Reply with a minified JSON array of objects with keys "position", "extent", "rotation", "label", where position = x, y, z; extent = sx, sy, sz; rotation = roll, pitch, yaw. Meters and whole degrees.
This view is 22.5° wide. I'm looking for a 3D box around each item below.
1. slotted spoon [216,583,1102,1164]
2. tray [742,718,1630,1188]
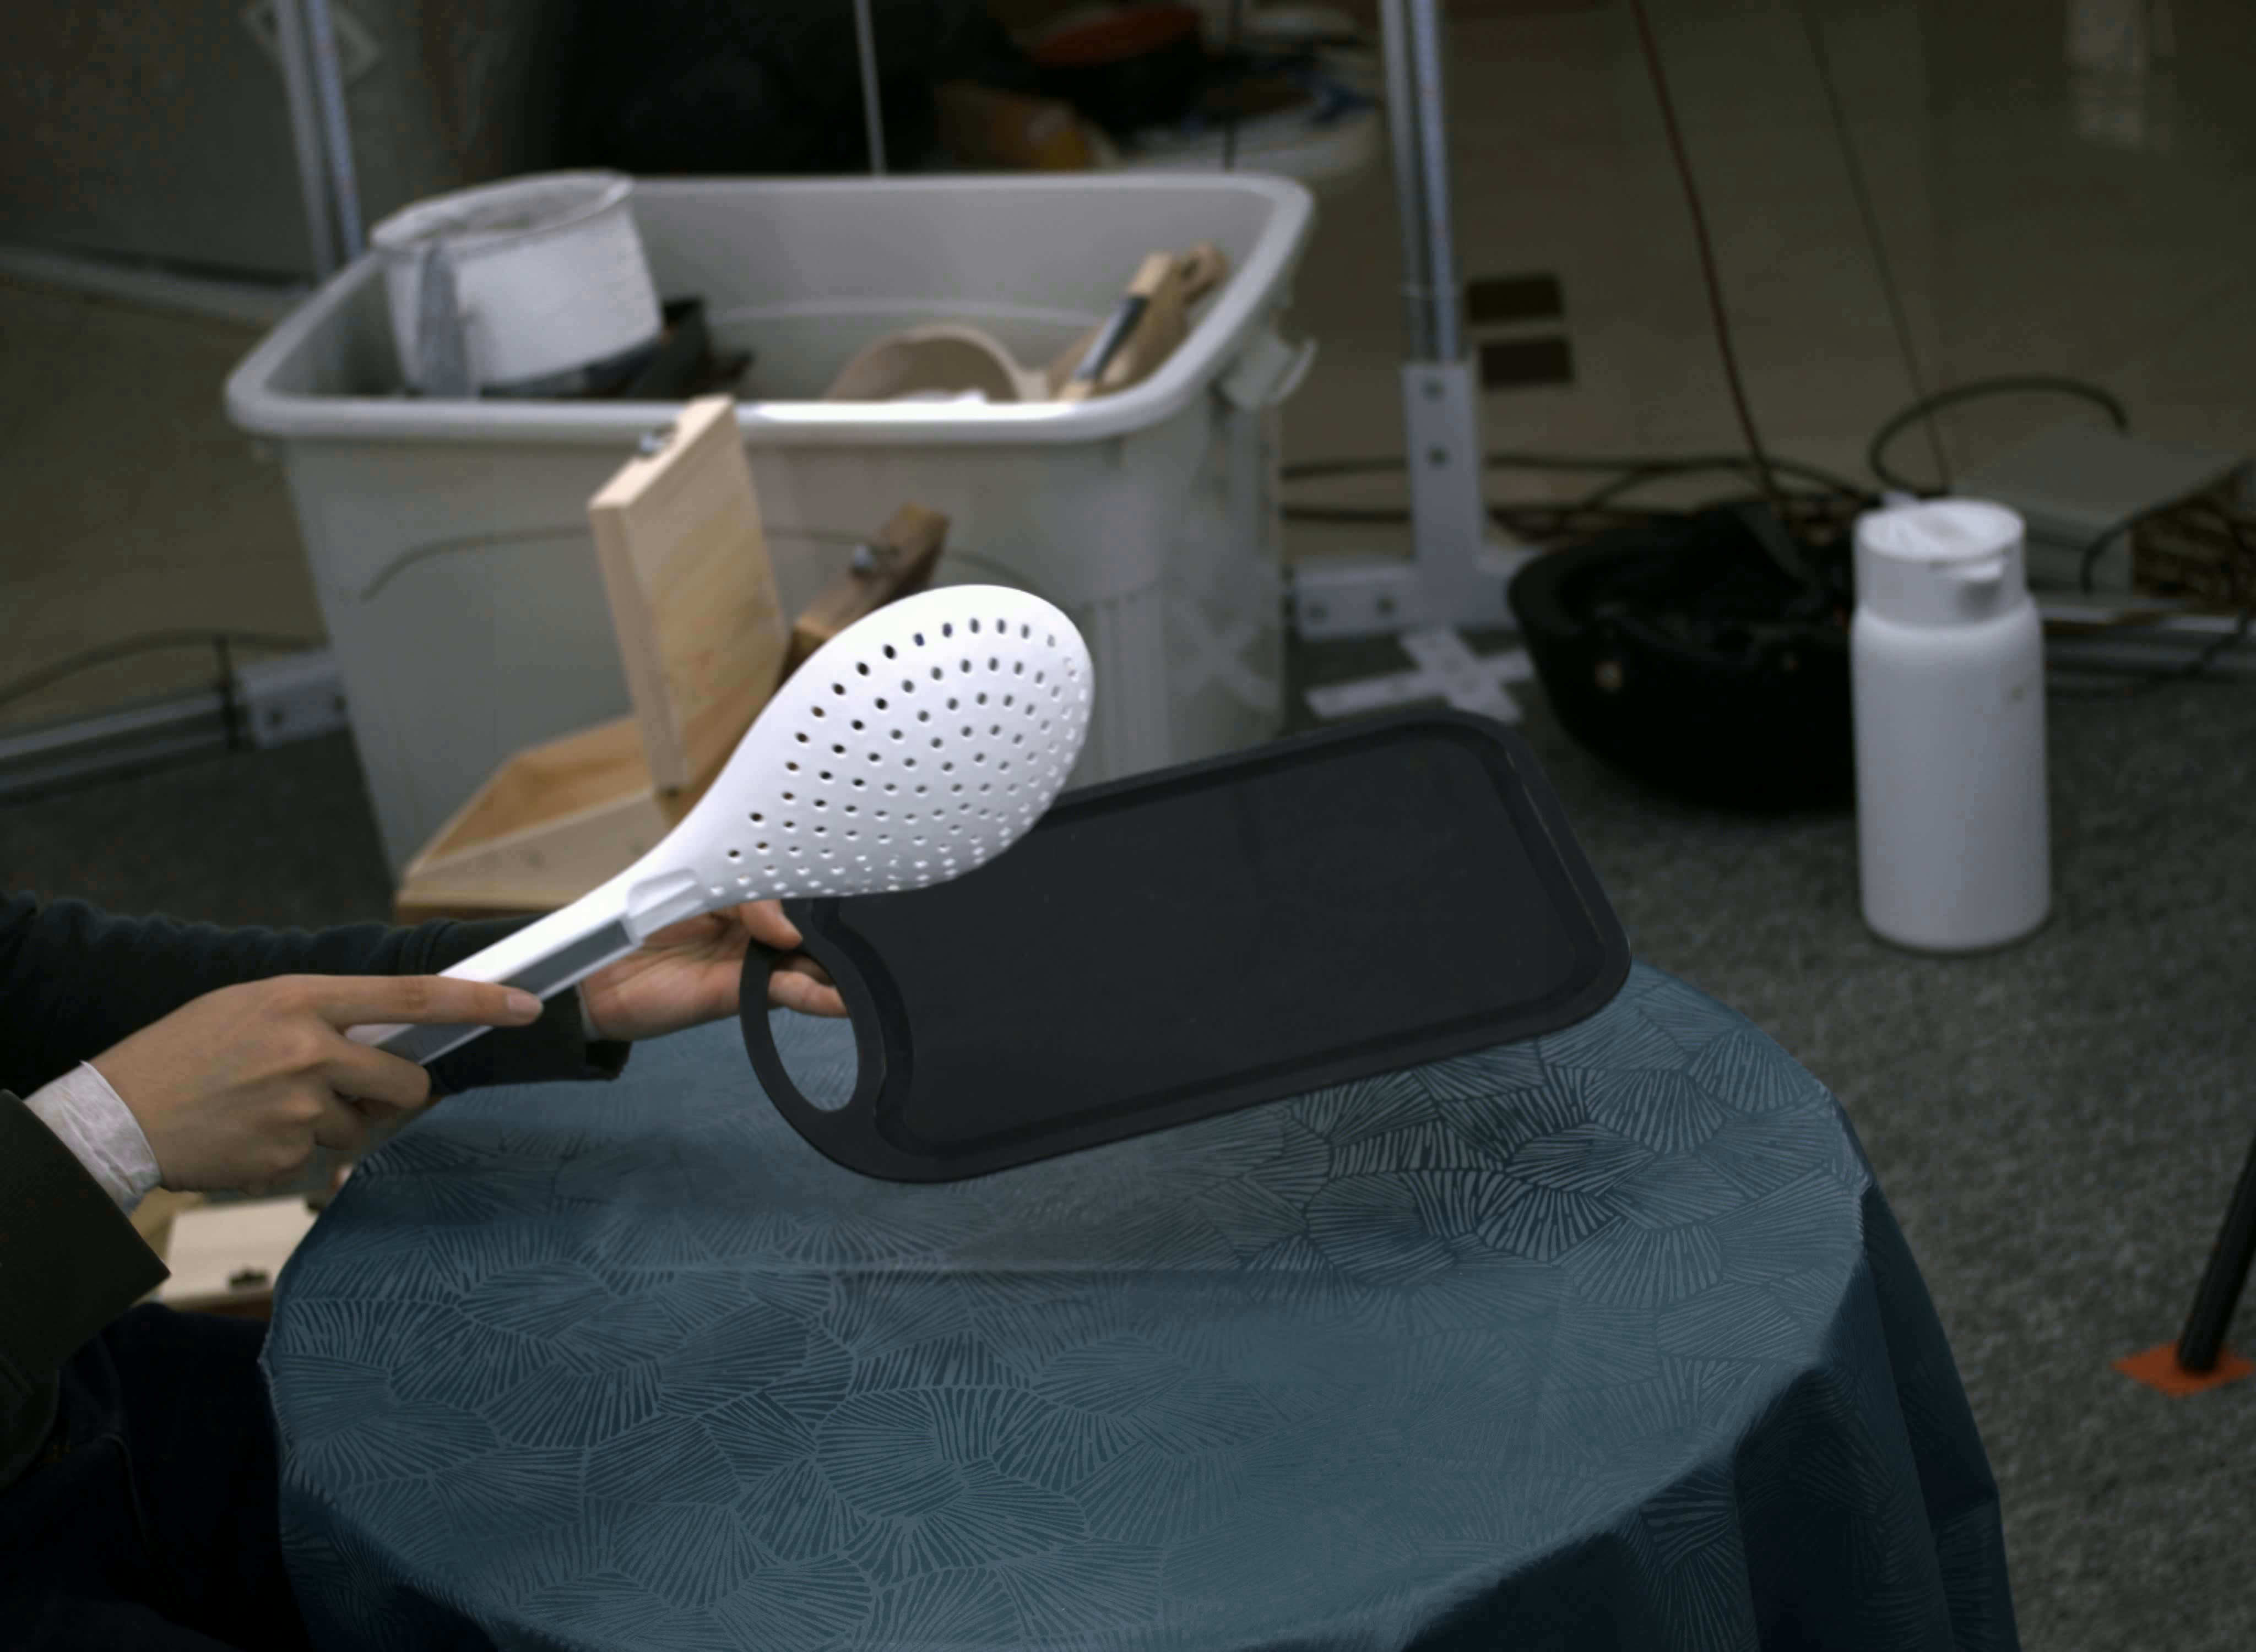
[{"position":[-0.162,0.025,1.992],"extent":[0.349,0.138,0.045],"rotation":[-25,48,-3],"label":"slotted spoon"},{"position":[0.015,0.045,2.129],"extent":[0.325,0.010,0.207],"rotation":[-13,38,-6],"label":"tray"}]
